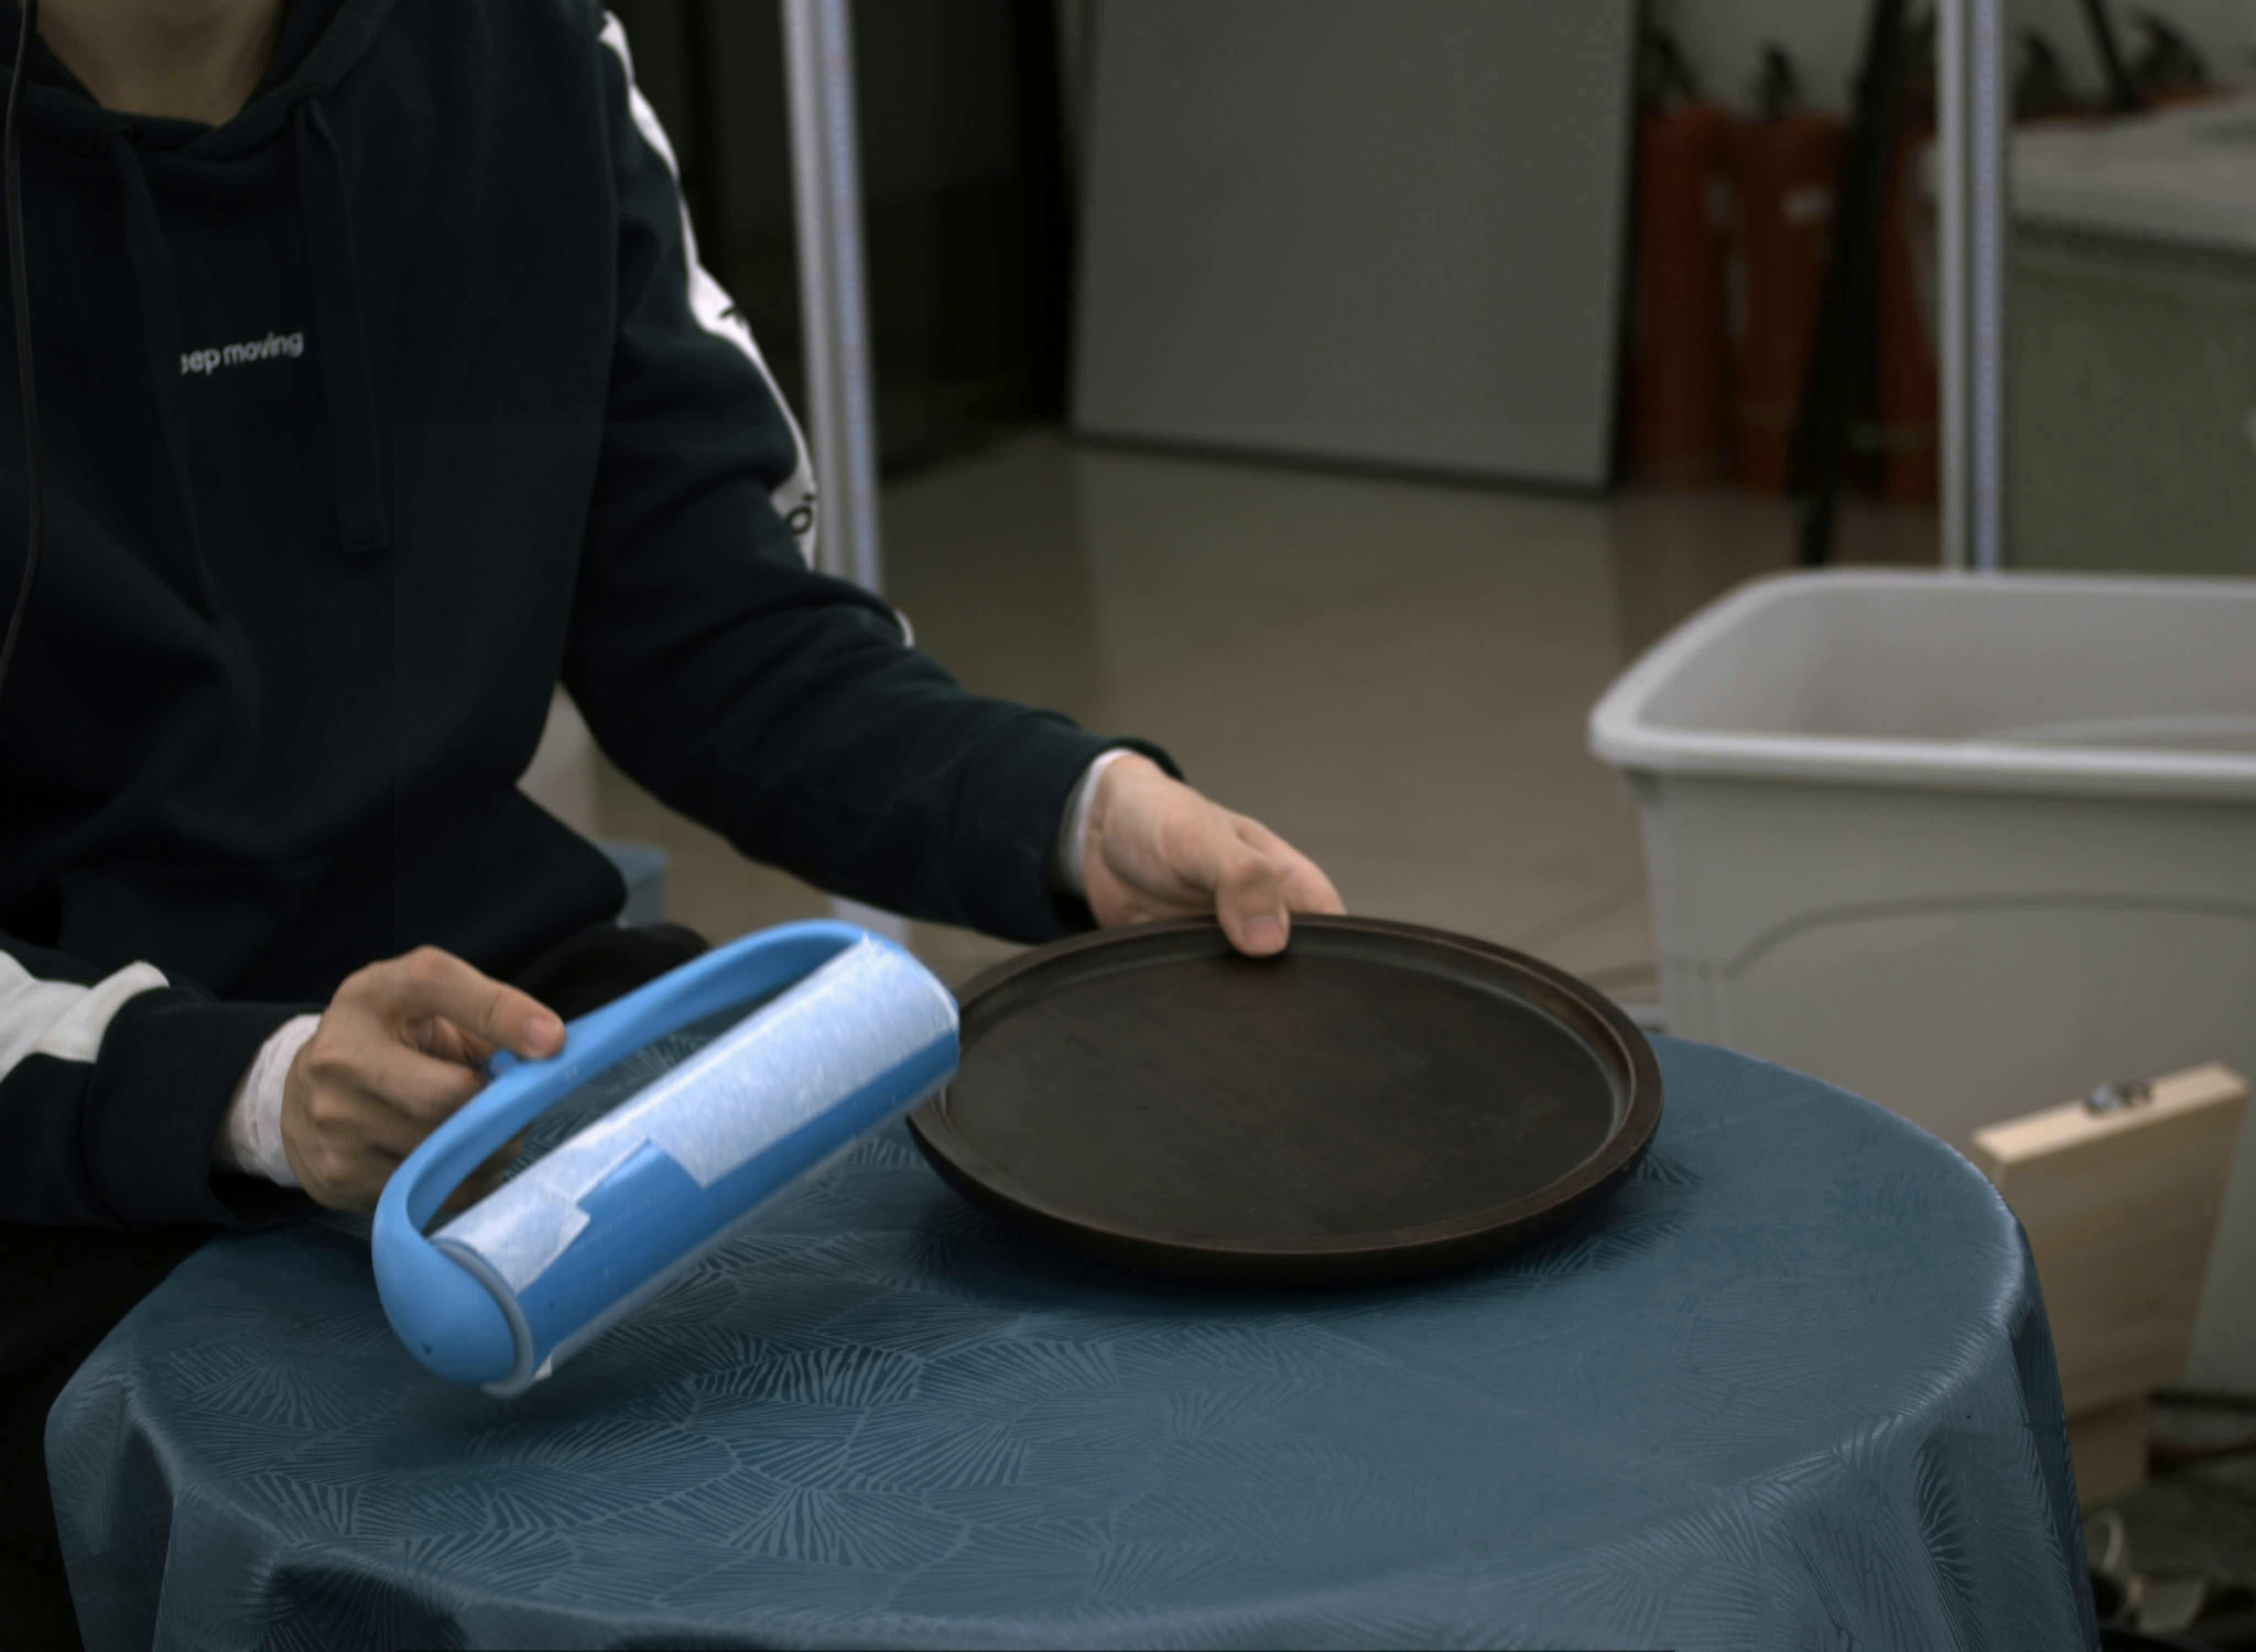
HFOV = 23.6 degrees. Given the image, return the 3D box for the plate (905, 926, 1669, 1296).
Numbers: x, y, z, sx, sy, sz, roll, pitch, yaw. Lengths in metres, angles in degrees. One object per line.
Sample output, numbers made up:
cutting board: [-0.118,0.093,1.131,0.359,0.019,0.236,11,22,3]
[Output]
plate: [0.051,0.090,1.759,0.251,0.029,0.255,-1,23,-1]

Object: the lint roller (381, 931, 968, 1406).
lint roller: [-0.174,0.102,1.675,0.182,0.068,0.226,2,29,42]
